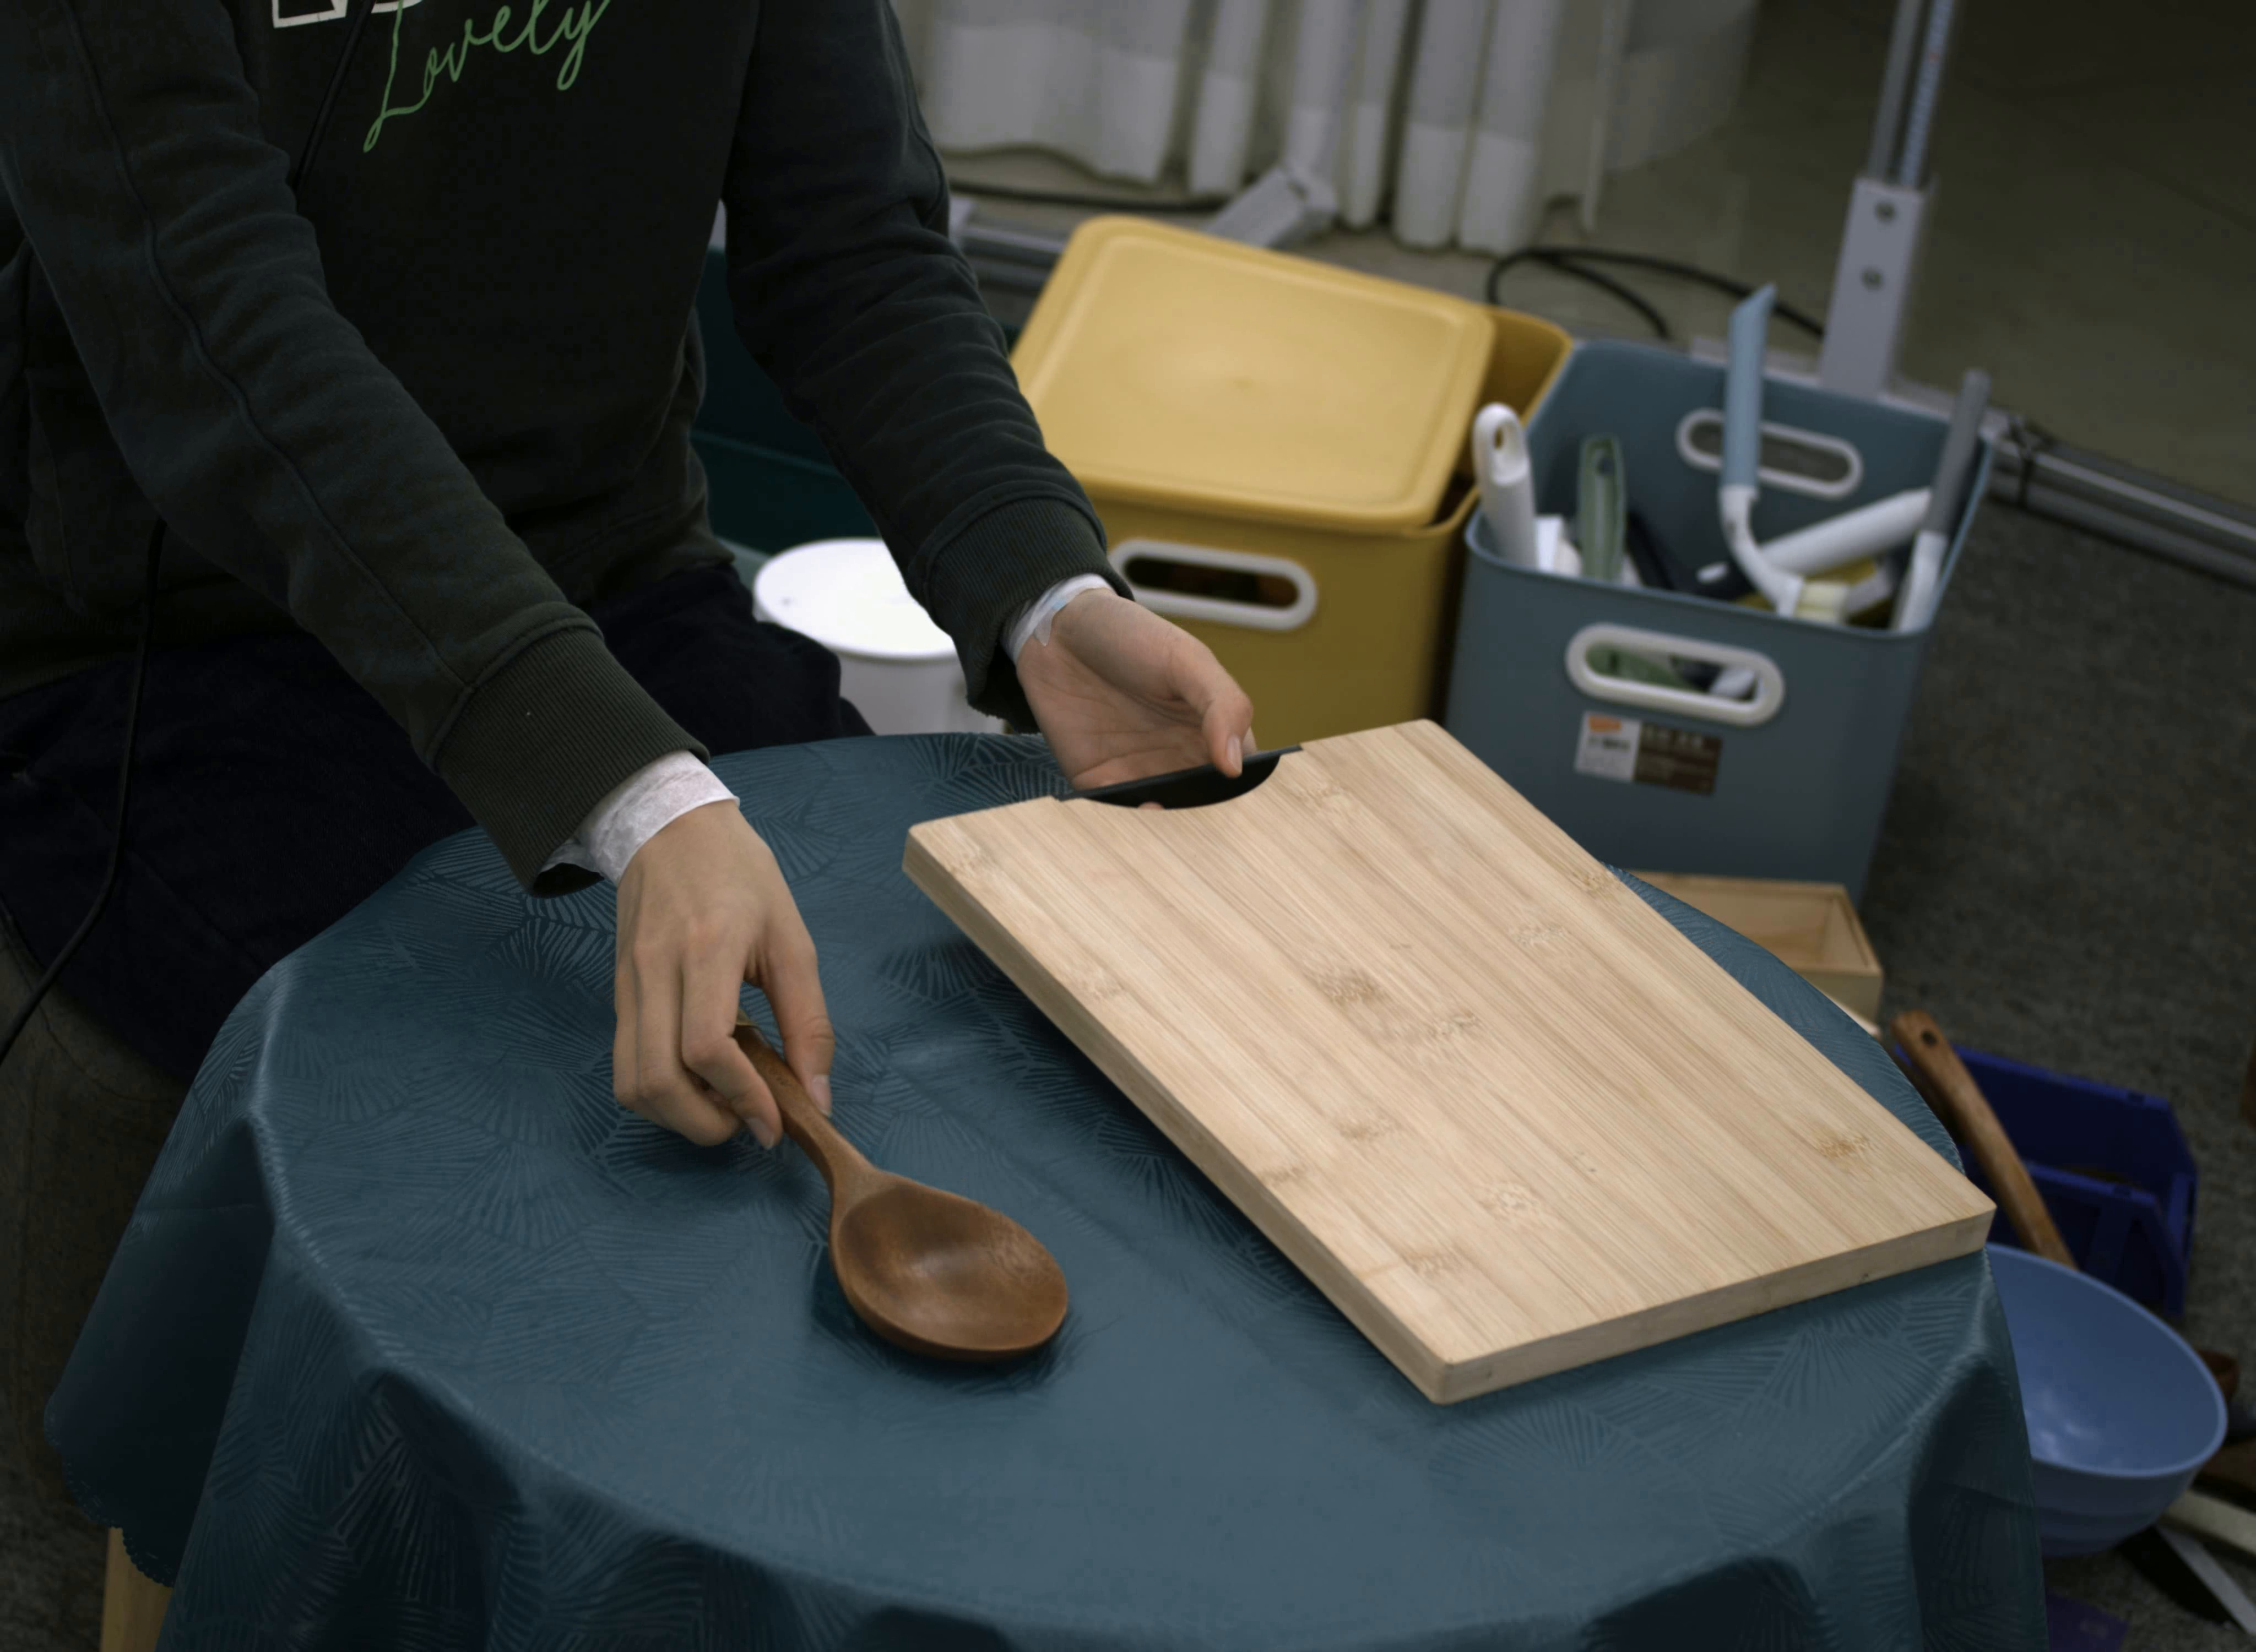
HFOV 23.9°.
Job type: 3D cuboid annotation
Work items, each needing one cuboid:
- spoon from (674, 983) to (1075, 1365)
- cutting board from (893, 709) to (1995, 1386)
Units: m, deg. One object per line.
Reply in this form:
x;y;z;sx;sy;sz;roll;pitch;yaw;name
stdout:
-0.092;0.115;1.761;0.075;0.017;0.218;-13;39;-31;spoon
0.105;0.070;1.879;0.249;0.023;0.352;-12;37;-33;cutting board
